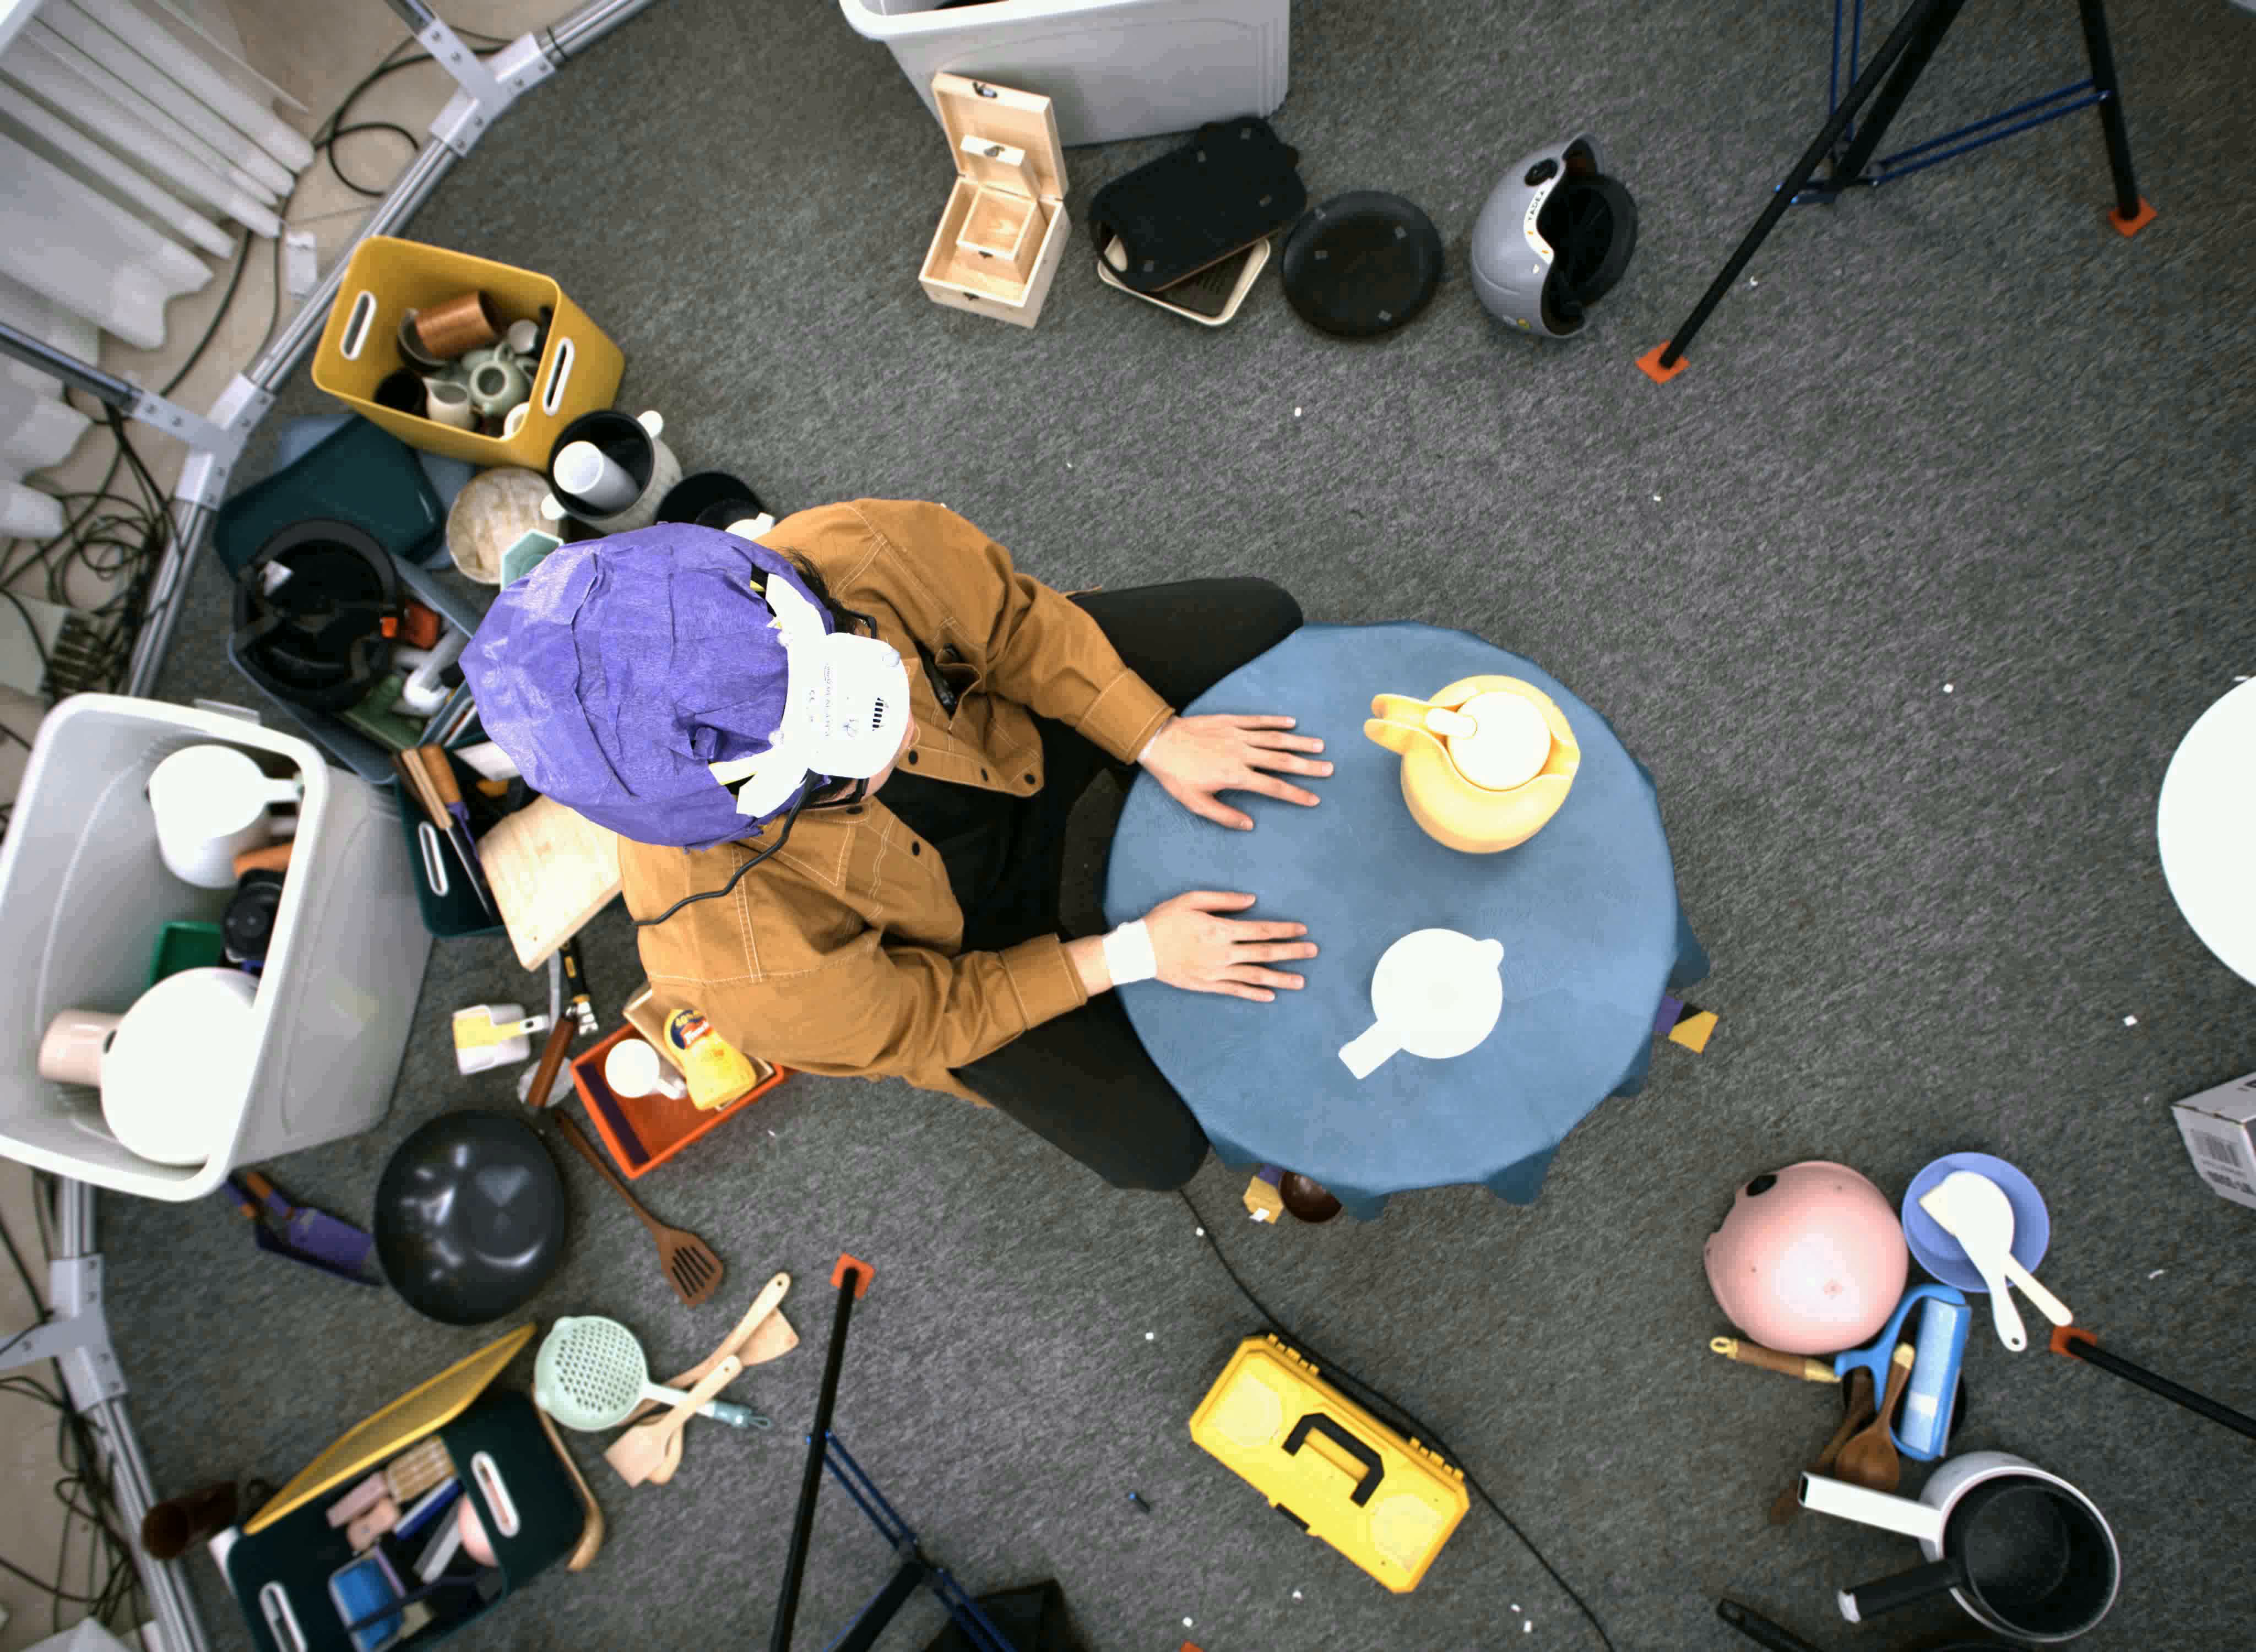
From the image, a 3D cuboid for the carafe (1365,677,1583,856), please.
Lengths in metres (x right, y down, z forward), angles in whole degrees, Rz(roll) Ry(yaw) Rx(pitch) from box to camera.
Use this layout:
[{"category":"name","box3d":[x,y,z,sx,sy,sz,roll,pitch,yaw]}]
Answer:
[{"category":"carafe","box3d":[0.328,-0.071,1.323,0.202,0.261,0.163,22,86,10]}]

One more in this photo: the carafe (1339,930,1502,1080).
[{"category":"carafe","box3d":[0.278,0.171,1.319,0.173,0.269,0.123,-41,81,5]}]
